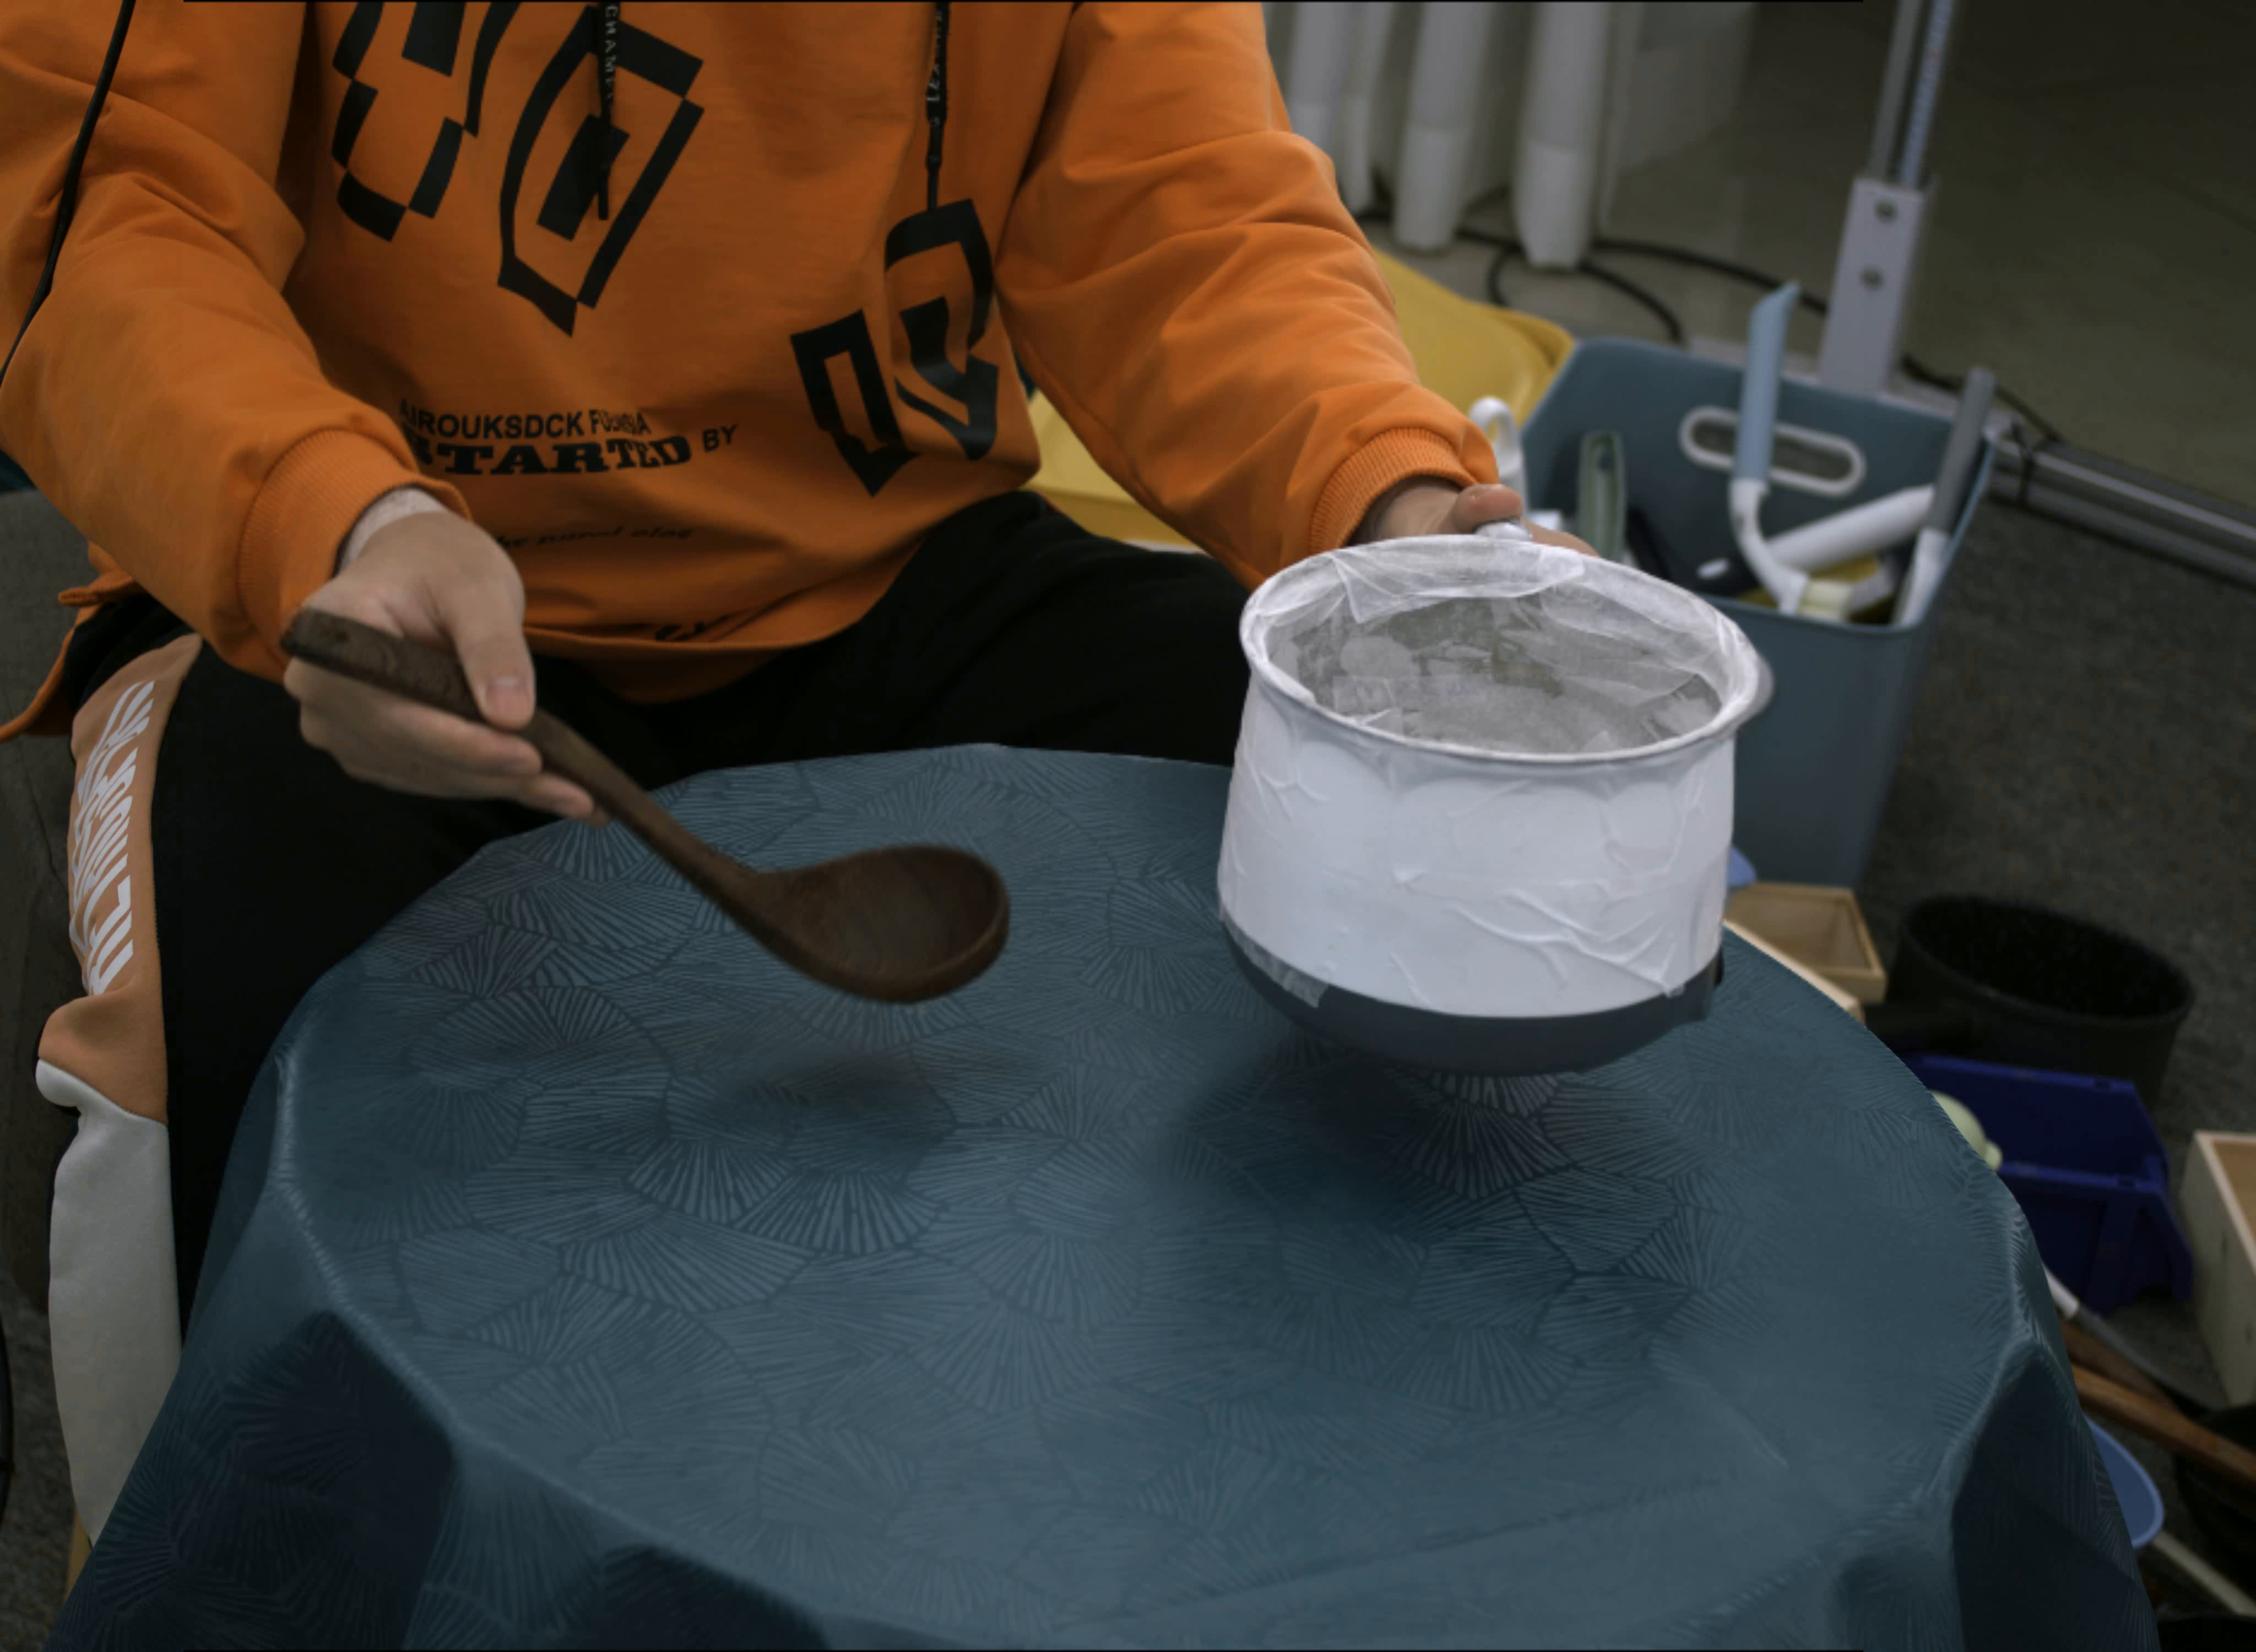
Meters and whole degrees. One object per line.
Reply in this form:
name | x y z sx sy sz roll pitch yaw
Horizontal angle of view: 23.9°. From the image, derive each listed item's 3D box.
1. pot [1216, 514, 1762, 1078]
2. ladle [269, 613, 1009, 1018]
pot | 0.122 -0.018 1.846 0.178 0.136 0.235 6 26 1
ladle | -0.158 -0.016 1.783 0.272 0.071 0.076 35 22 -28
